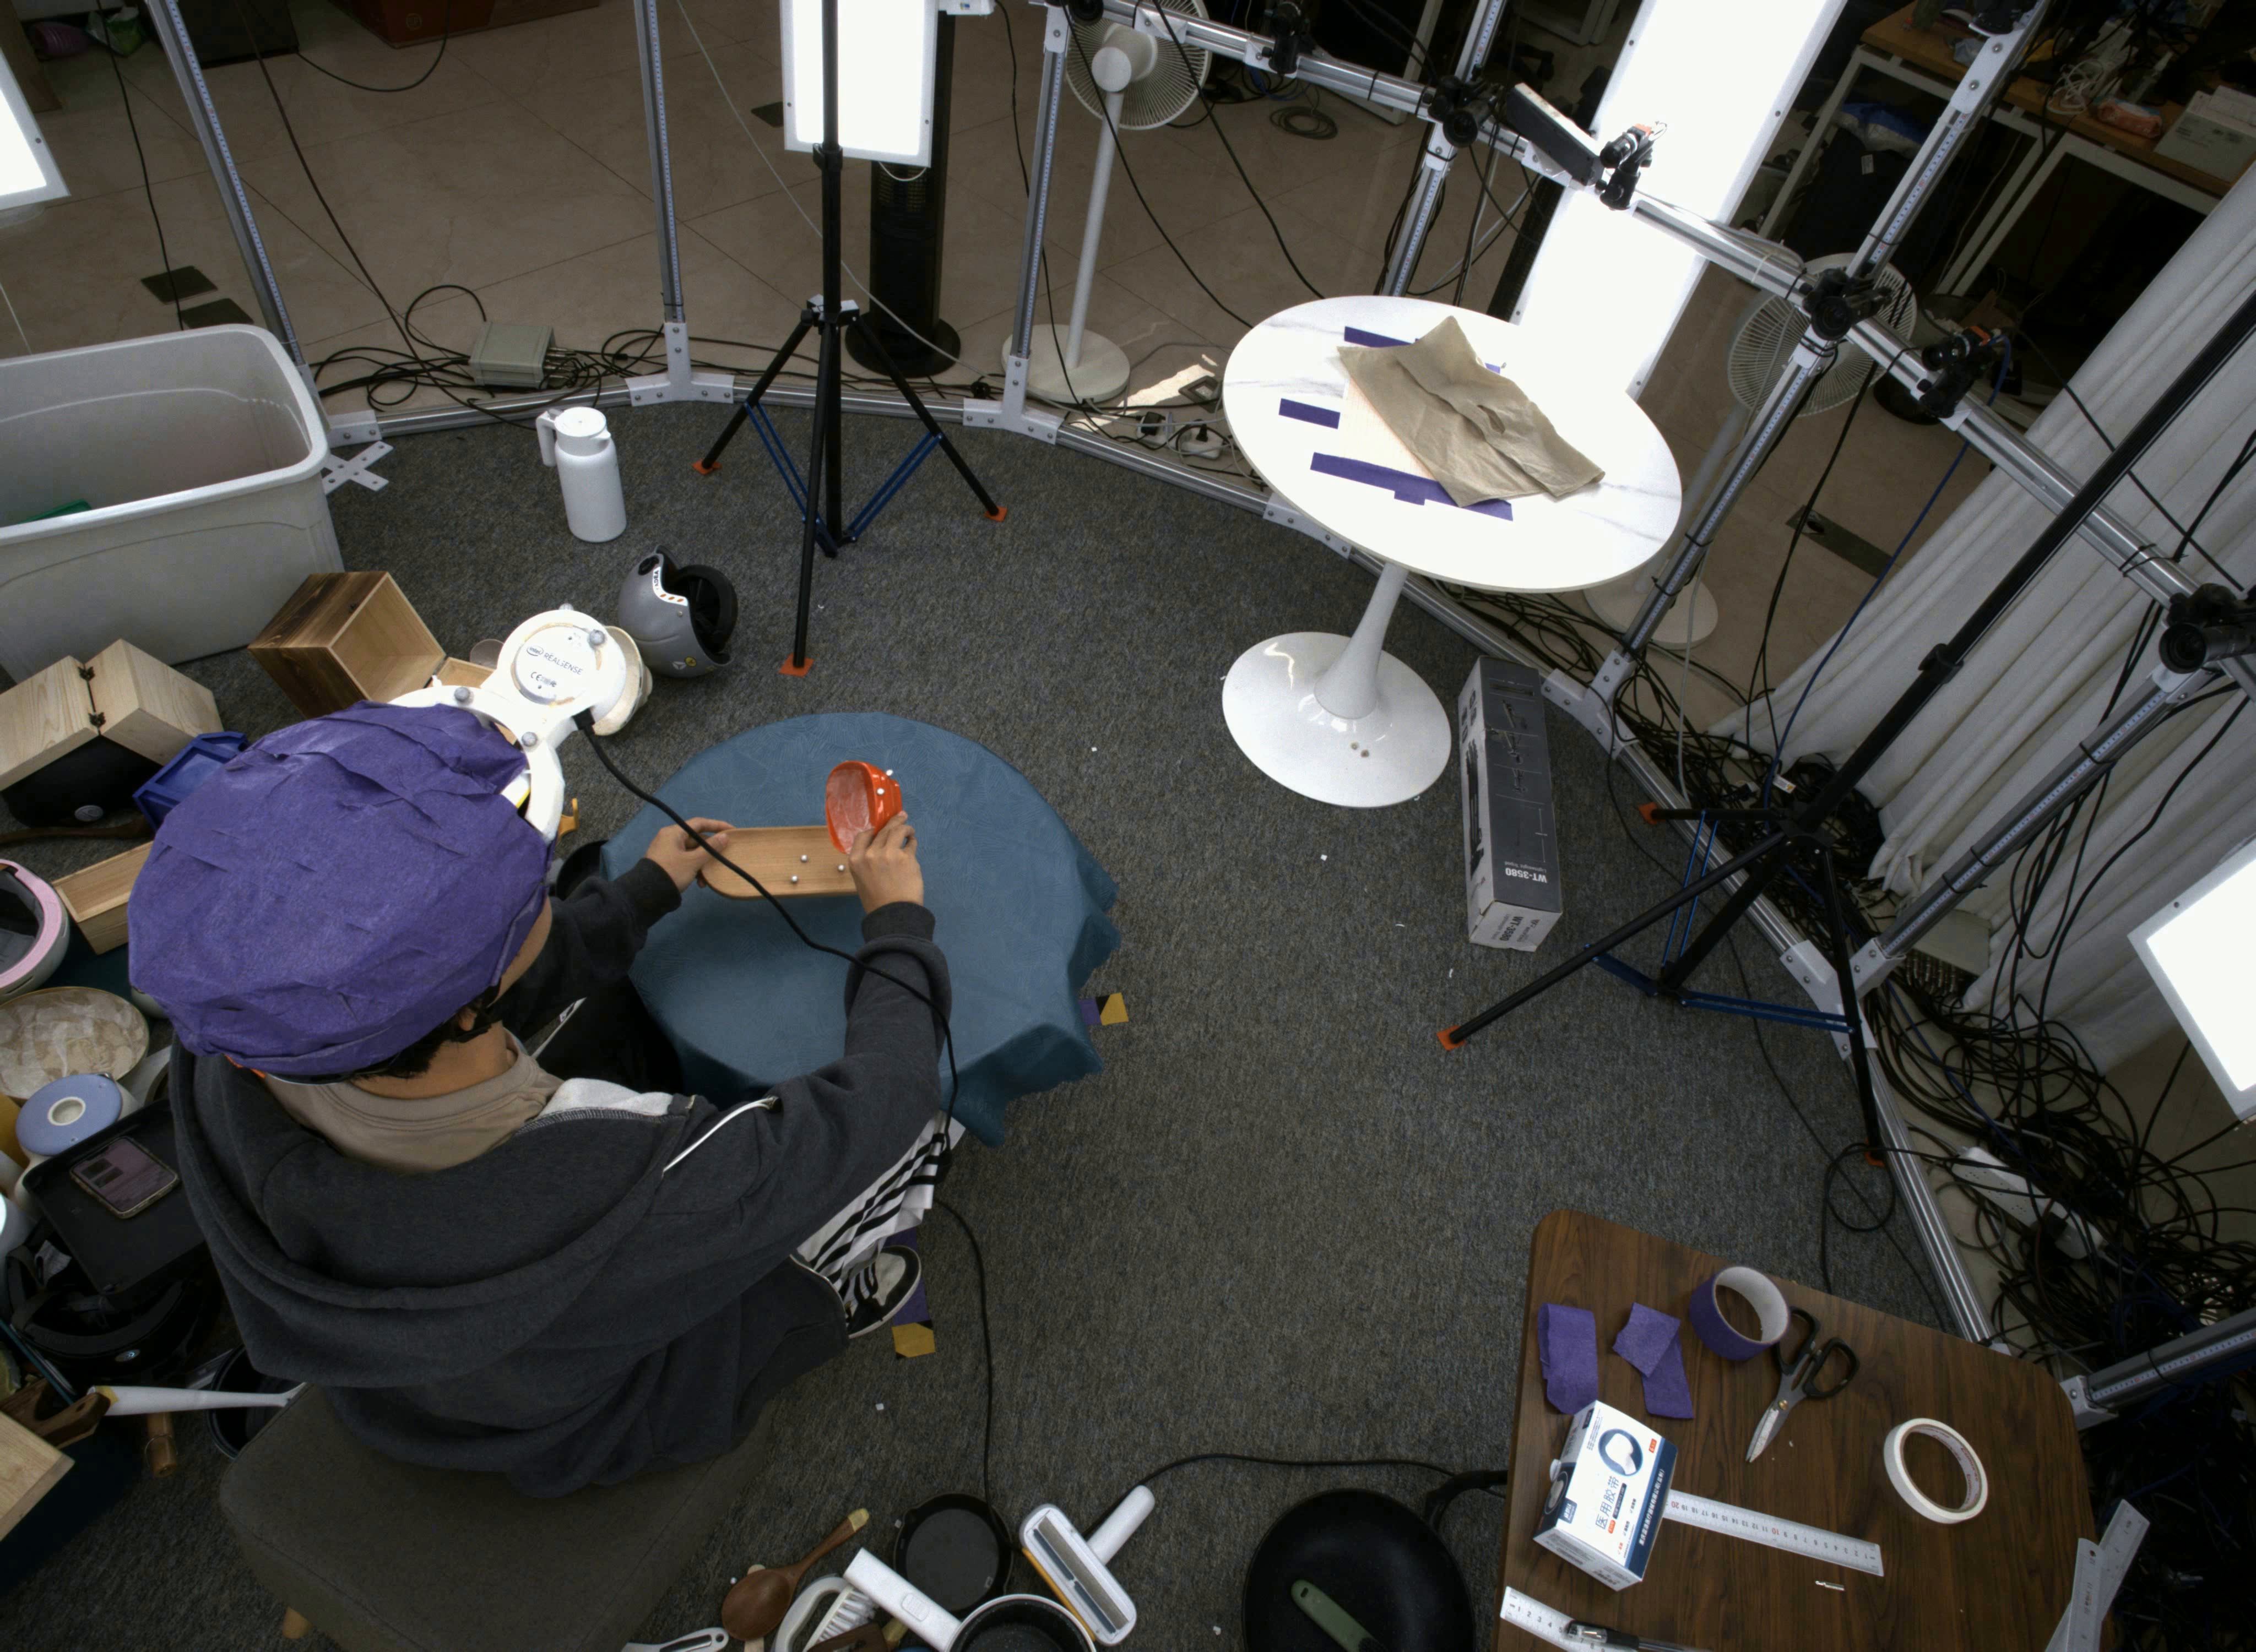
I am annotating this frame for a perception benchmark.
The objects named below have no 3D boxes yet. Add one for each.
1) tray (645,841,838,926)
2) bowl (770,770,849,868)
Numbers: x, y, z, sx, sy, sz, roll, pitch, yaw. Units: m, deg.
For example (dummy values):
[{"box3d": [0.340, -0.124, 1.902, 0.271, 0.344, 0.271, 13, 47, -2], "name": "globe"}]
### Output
[{"box3d": [-0.466, 0.066, 1.564, 0.233, 0.020, 0.099, -7, 58, -29], "name": "tray"}, {"box3d": [-0.362, -0.010, 1.495, 0.052, 0.120, 0.116, -6, 50, -48], "name": "bowl"}]
